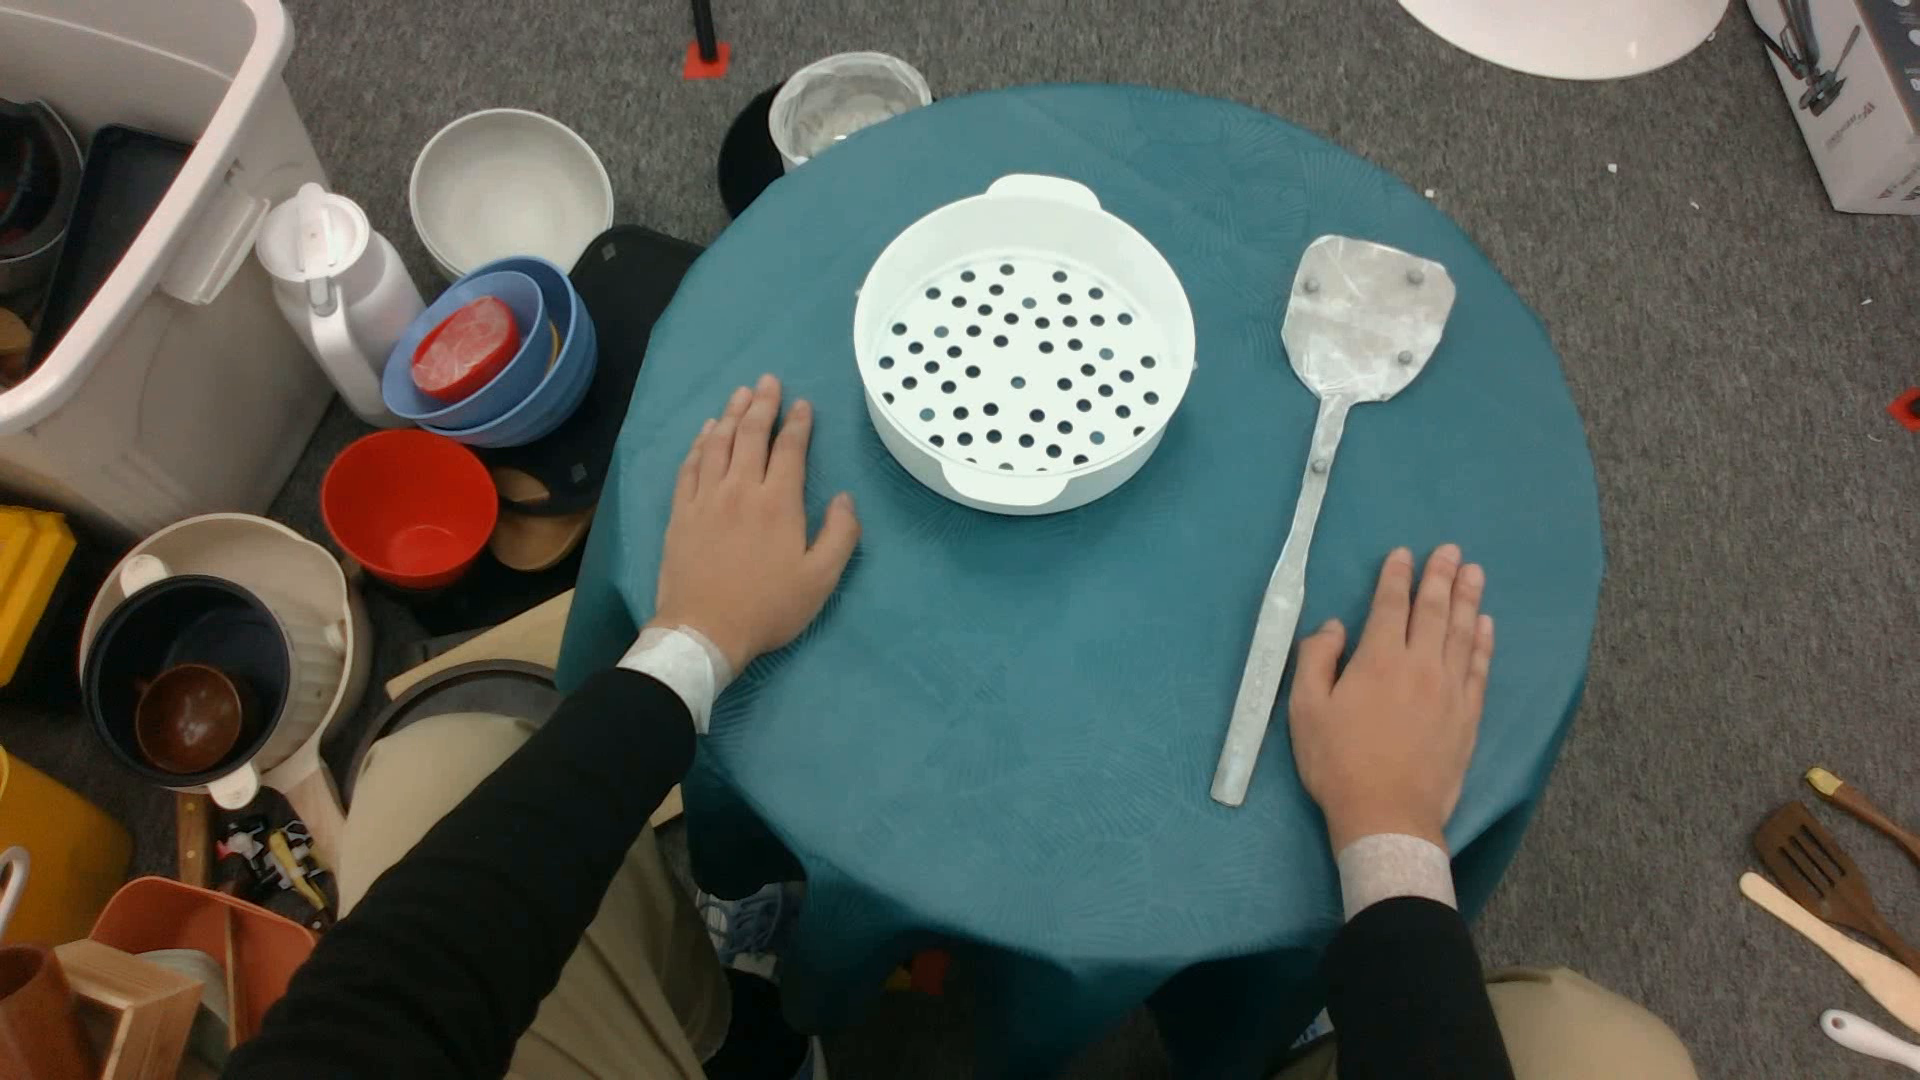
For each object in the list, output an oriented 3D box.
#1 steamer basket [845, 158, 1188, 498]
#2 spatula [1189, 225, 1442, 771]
[{"bbox_3d":[0.033,-0.122,0.835,0.202,0.069,0.231,8,66,2],"label":"steamer basket"},{"bbox_3d":[0.201,-0.031,0.819,0.098,0.044,0.366,20,66,4],"label":"spatula"}]
